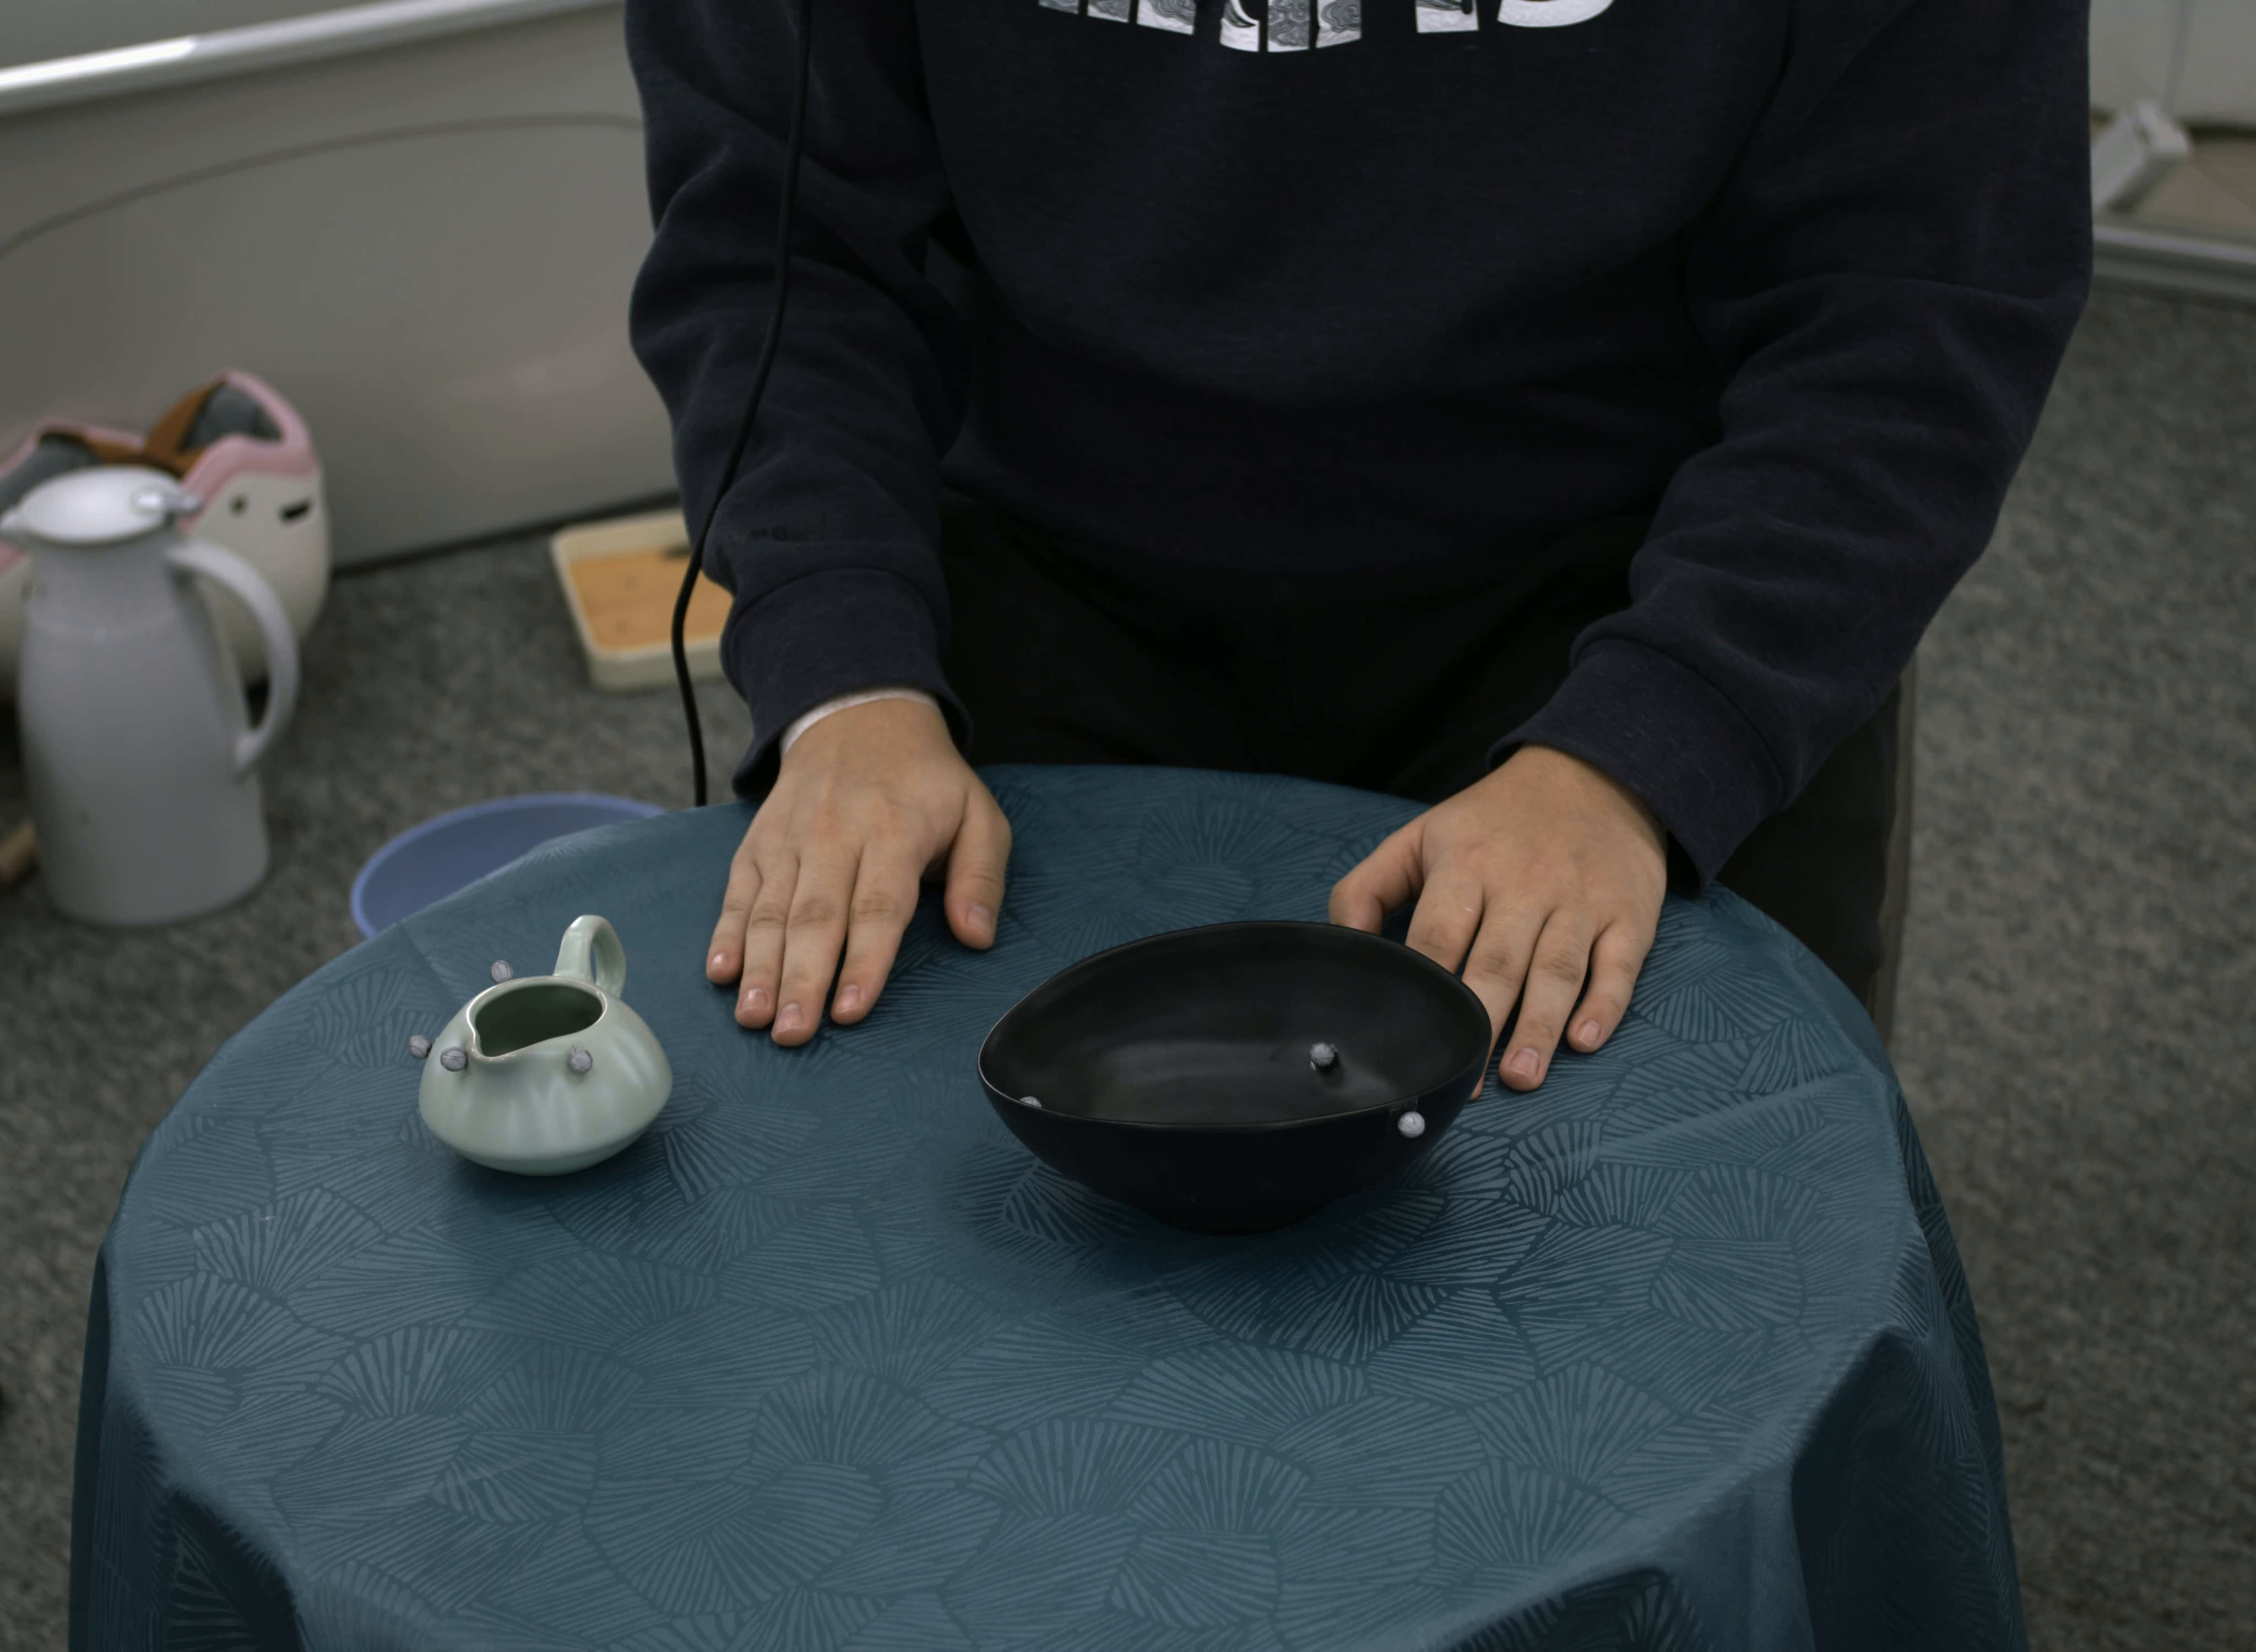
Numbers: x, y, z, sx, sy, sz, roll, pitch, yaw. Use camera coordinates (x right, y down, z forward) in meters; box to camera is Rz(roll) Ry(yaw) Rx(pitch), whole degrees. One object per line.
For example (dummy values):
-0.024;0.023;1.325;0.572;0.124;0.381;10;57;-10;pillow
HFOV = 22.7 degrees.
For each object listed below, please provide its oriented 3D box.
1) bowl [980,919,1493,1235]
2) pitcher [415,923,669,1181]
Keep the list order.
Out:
0.036;0.092;1.852;0.169;0.066;0.139;-2;26;3;bowl
-0.195;0.078;1.906;0.085;0.060;0.110;6;26;14;pitcher
